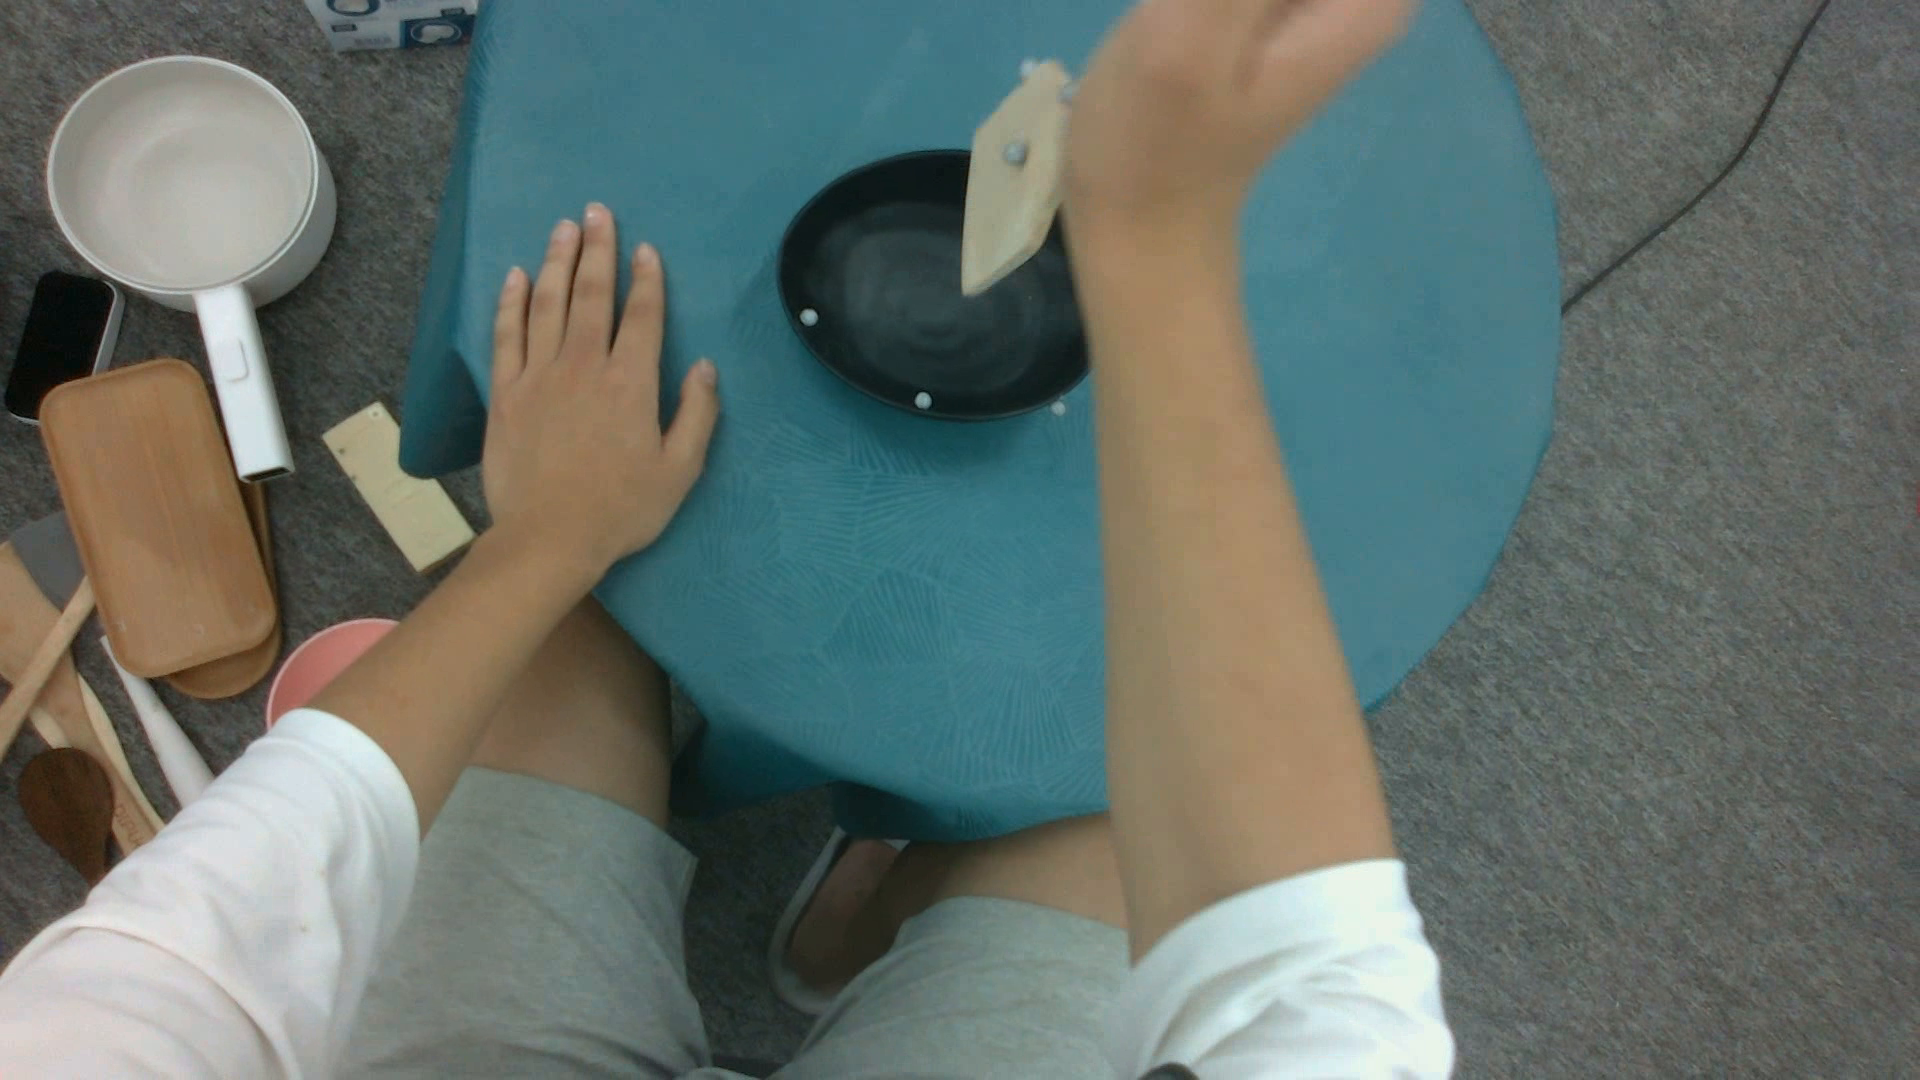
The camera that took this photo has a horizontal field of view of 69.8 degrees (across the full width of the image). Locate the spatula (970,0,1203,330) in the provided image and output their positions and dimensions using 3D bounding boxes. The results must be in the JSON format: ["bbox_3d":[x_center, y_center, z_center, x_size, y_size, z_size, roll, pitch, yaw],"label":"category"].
[{"bbox_3d":[0.040,-0.146,0.486,0.010,0.292,0.072,5,82,-11],"label":"spatula"}]

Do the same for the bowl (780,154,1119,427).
[{"bbox_3d":[-0.007,-0.121,0.707,0.170,0.066,0.137,4,82,-7],"label":"bowl"}]
